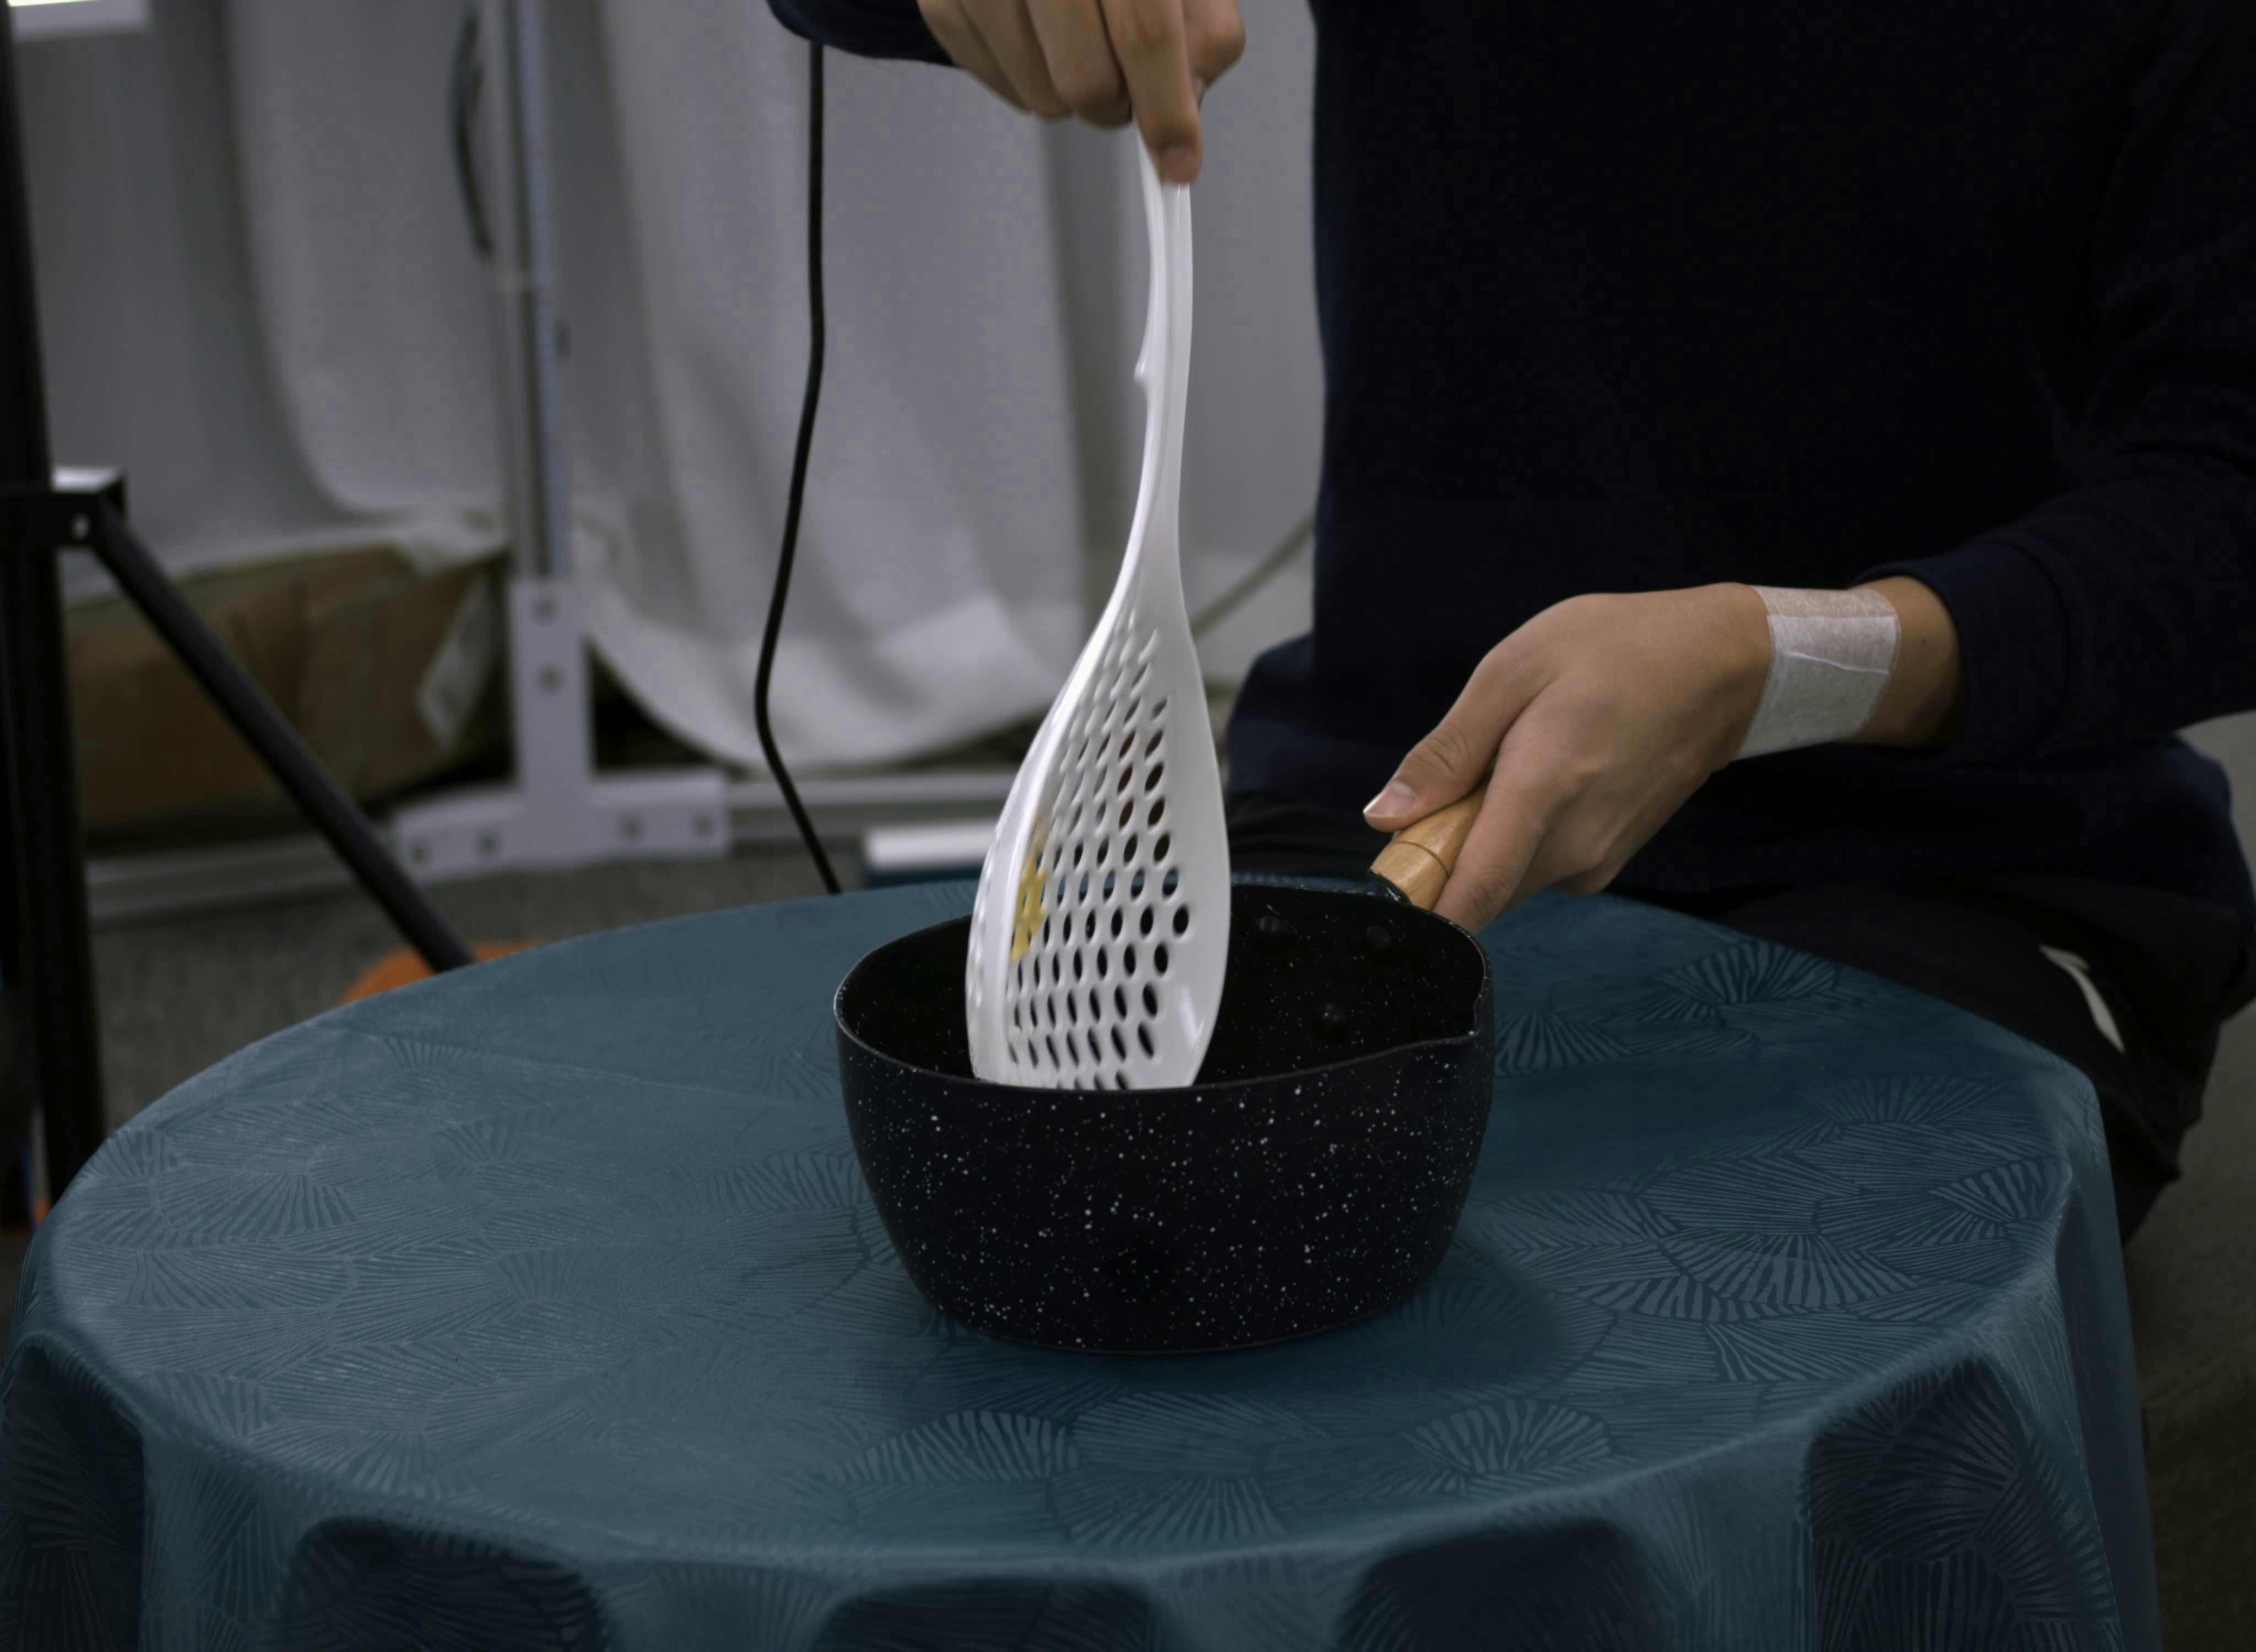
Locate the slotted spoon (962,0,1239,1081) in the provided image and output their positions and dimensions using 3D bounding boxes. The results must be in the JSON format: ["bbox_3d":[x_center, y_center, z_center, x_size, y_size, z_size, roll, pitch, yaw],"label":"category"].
[{"bbox_3d":[-0.004,-0.069,1.458,0.051,0.348,0.134,15,16,26],"label":"slotted spoon"}]

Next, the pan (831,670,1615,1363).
[{"bbox_3d":[0.053,0.050,1.544,0.211,0.108,0.336,6,20,32],"label":"pan"}]
